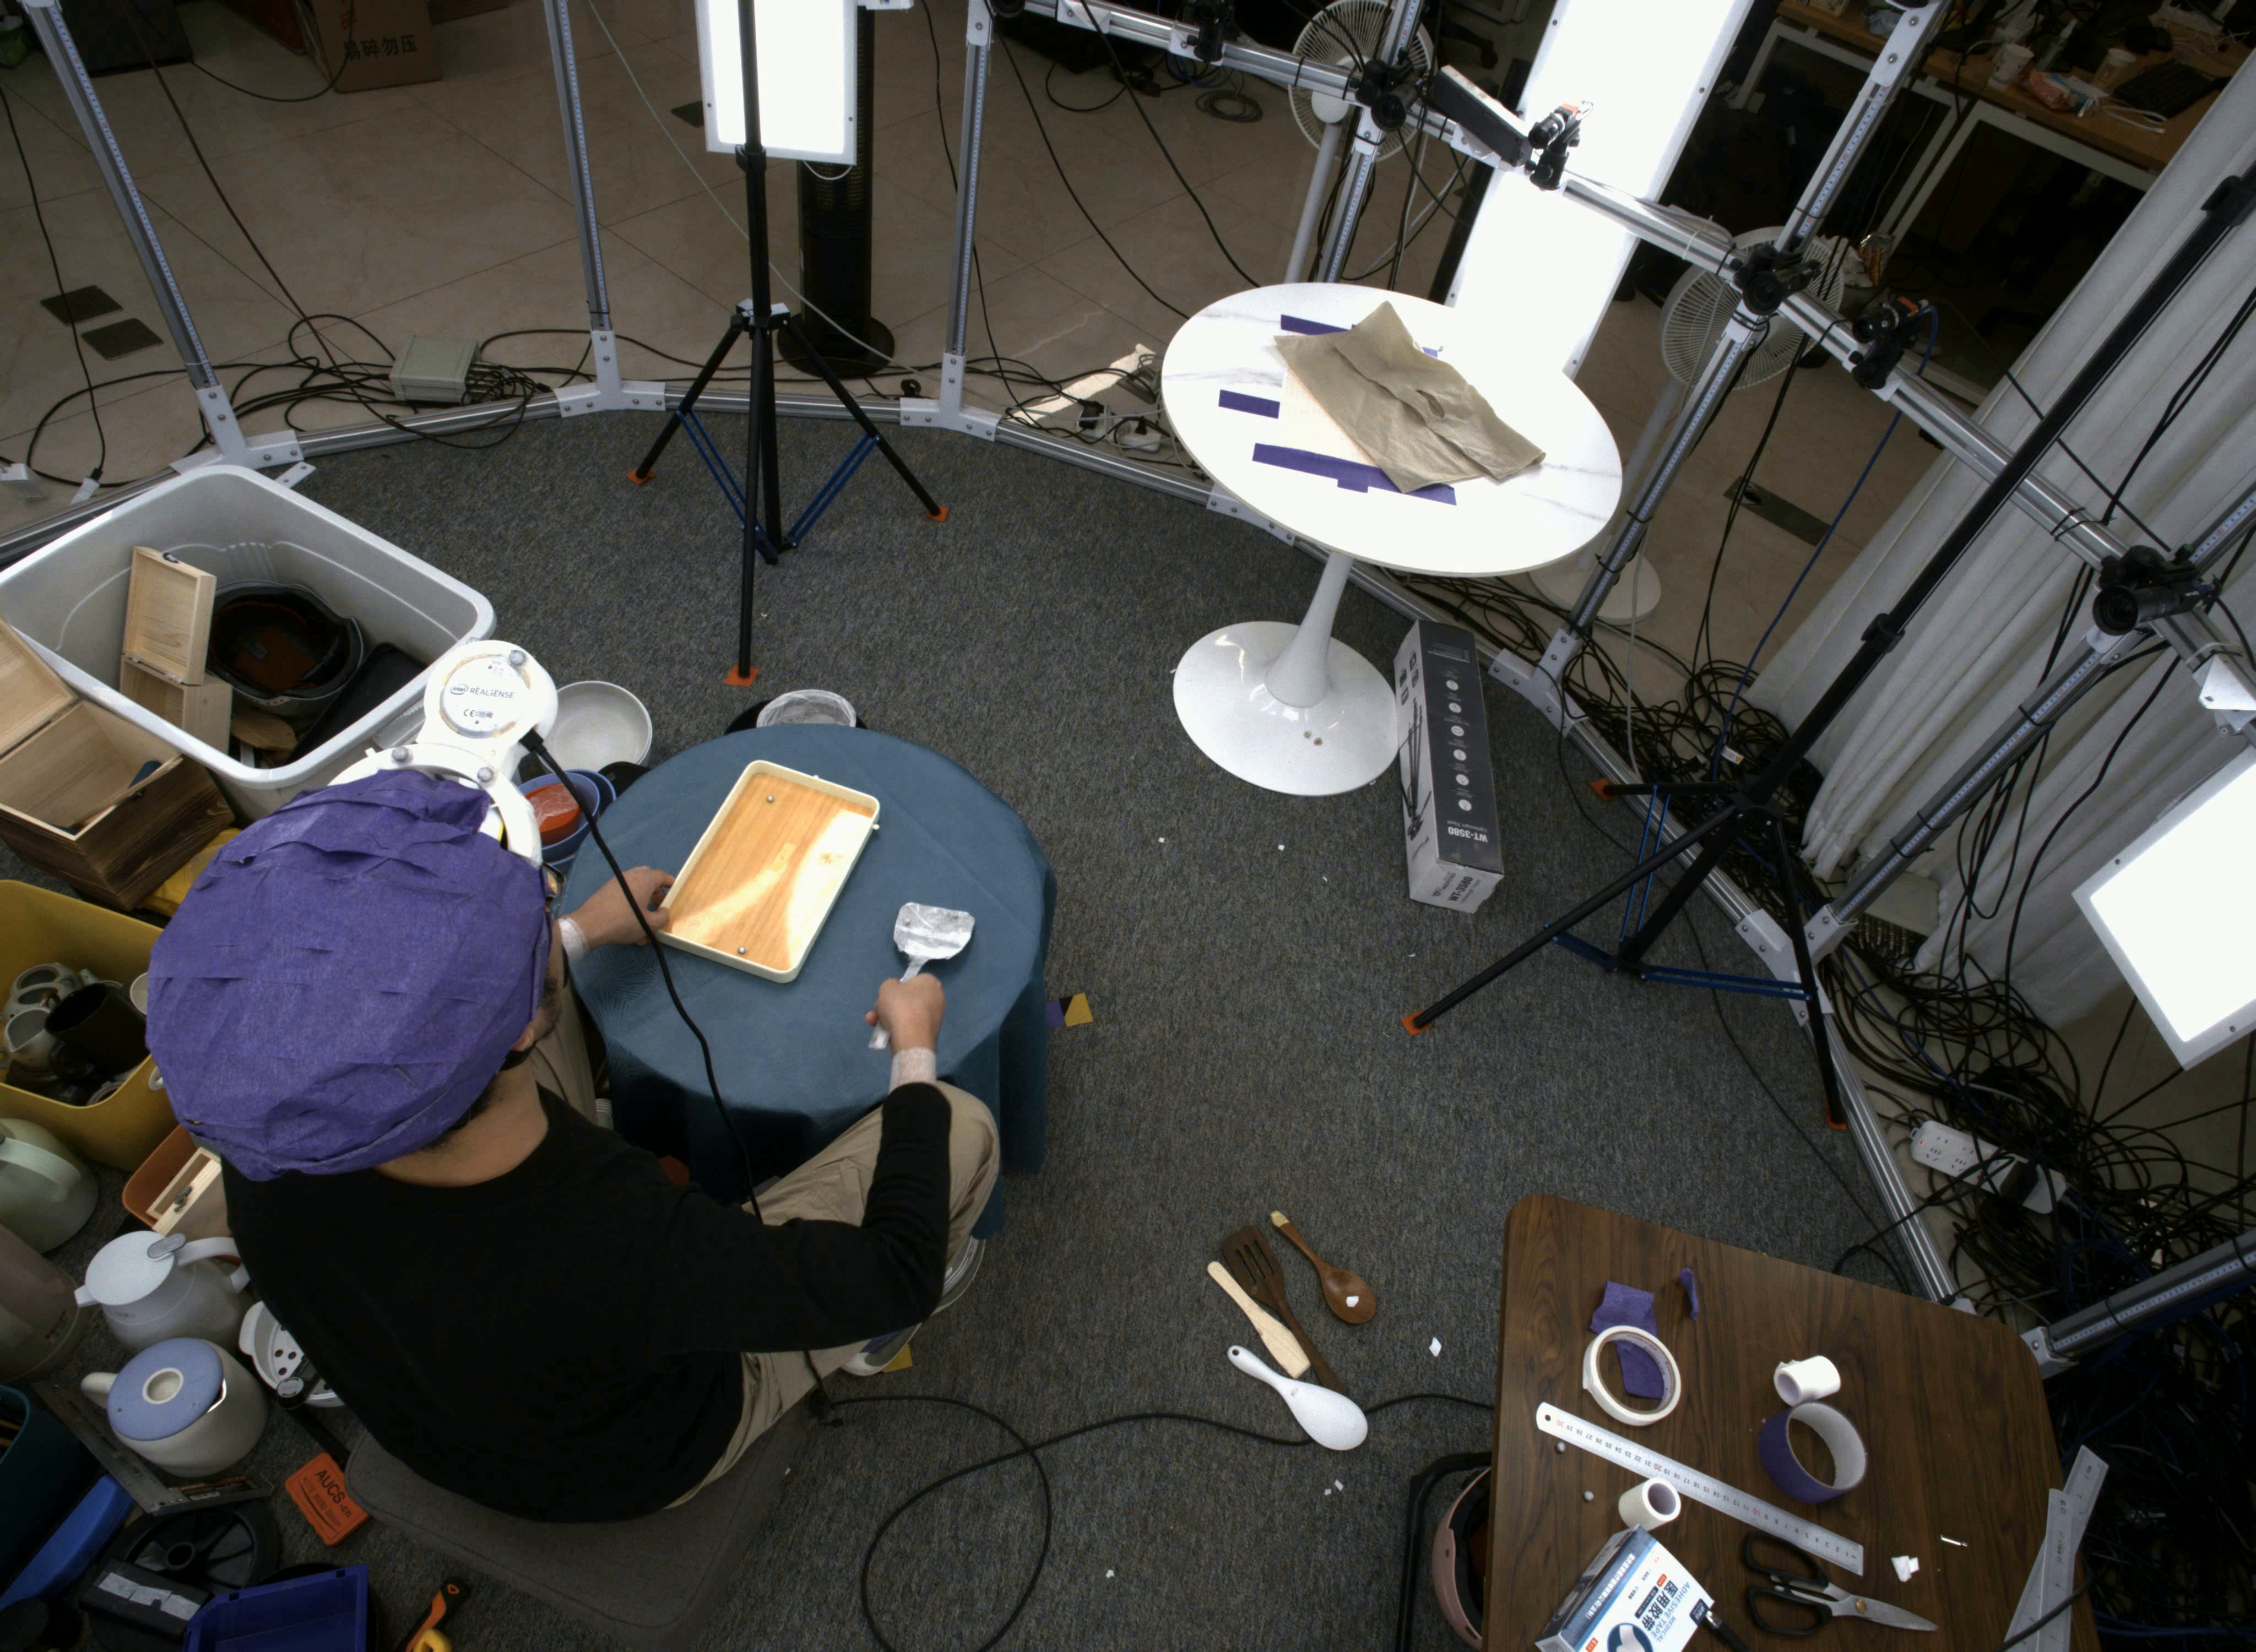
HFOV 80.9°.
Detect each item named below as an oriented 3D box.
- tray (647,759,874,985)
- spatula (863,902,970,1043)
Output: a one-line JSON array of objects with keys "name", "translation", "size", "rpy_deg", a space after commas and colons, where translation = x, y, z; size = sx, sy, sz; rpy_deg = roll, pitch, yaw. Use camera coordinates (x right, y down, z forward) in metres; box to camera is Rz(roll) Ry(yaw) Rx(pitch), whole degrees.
[{"name": "tray", "translation": [-0.463, 0.051, 1.653], "size": [0.190, 0.028, 0.297], "rpy_deg": [19, 52, 0]}, {"name": "spatula", "translation": [-0.257, 0.163, 1.517], "size": [0.098, 0.045, 0.360], "rpy_deg": [11, 13, -1]}]
